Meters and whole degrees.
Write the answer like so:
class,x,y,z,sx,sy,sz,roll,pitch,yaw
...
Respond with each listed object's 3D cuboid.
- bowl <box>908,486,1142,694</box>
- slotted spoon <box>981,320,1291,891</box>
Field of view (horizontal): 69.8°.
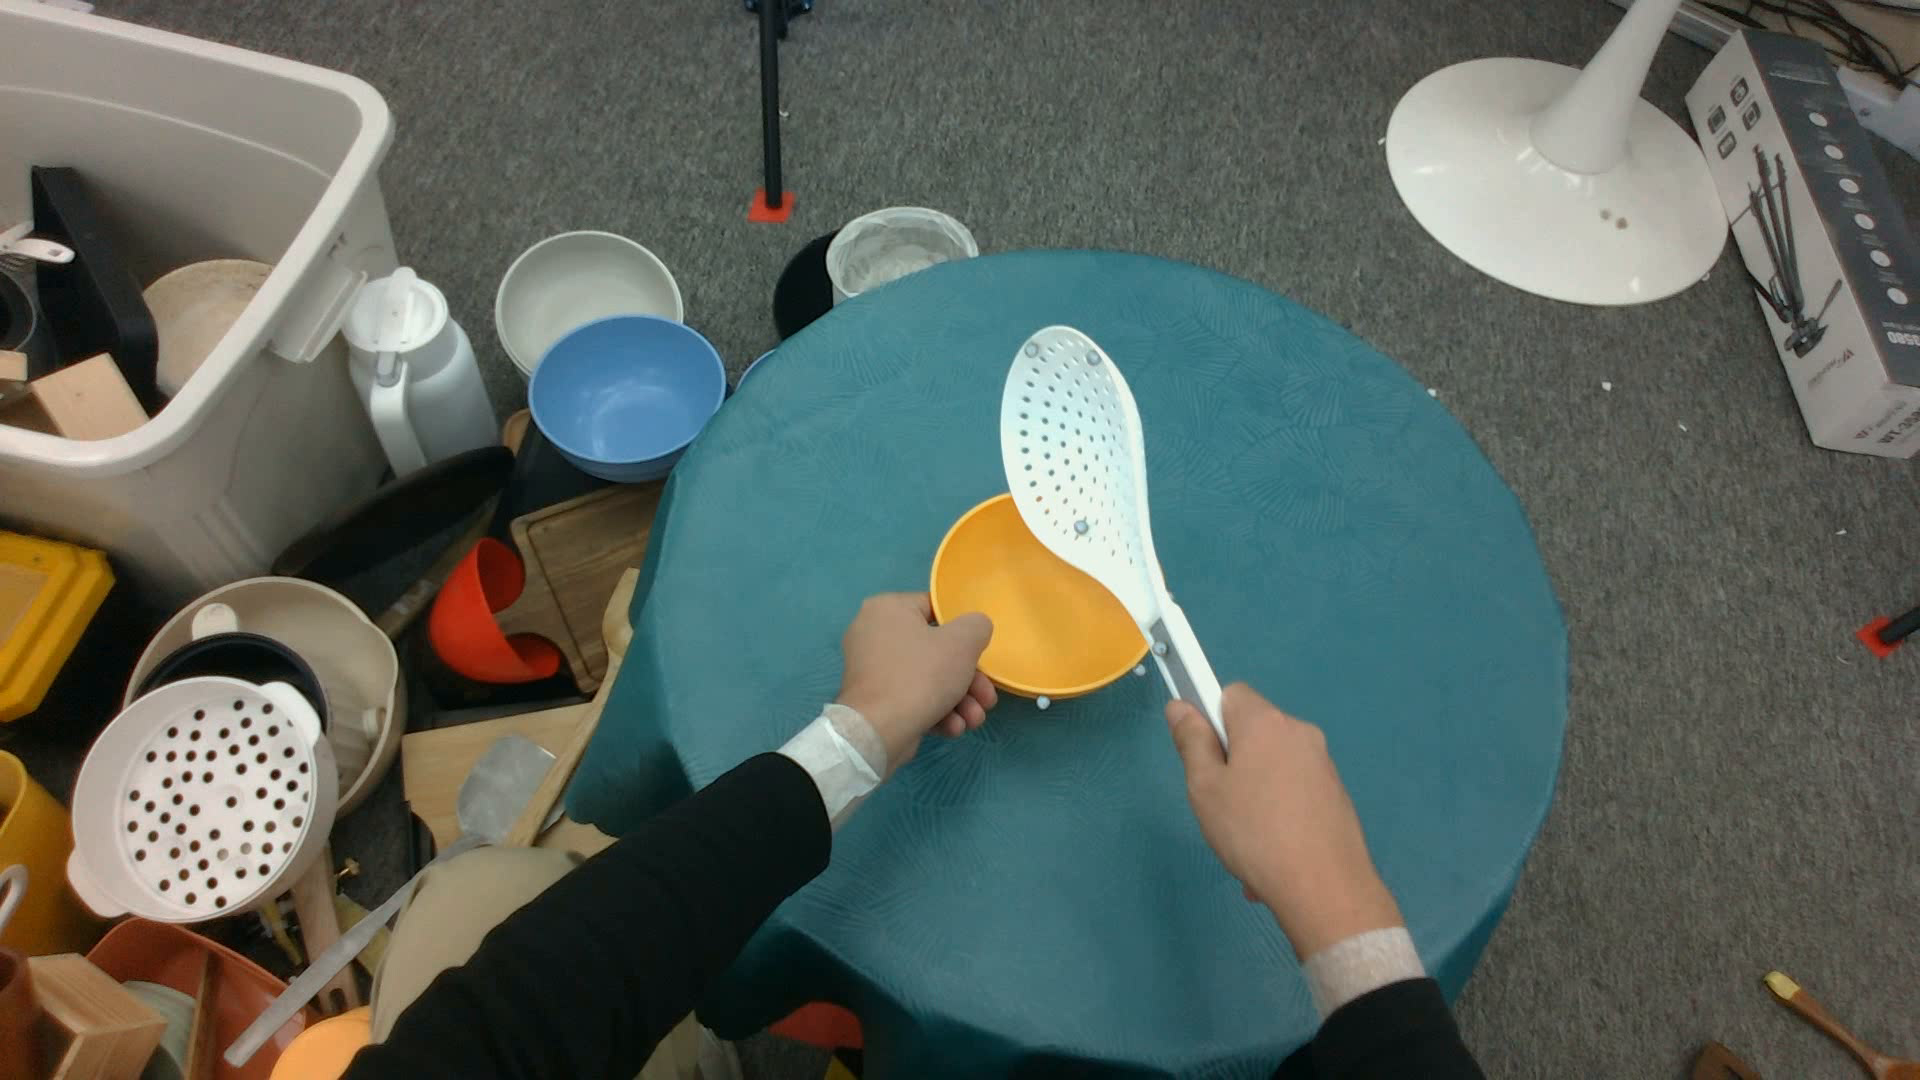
class,x,y,z,sx,sy,sz,roll,pitch,yaw
bowl,0.038,0.040,0.858,0.145,0.060,0.146,2,56,-3
slotted spoon,0.095,0.028,0.769,0.046,0.135,0.351,-4,58,-28
